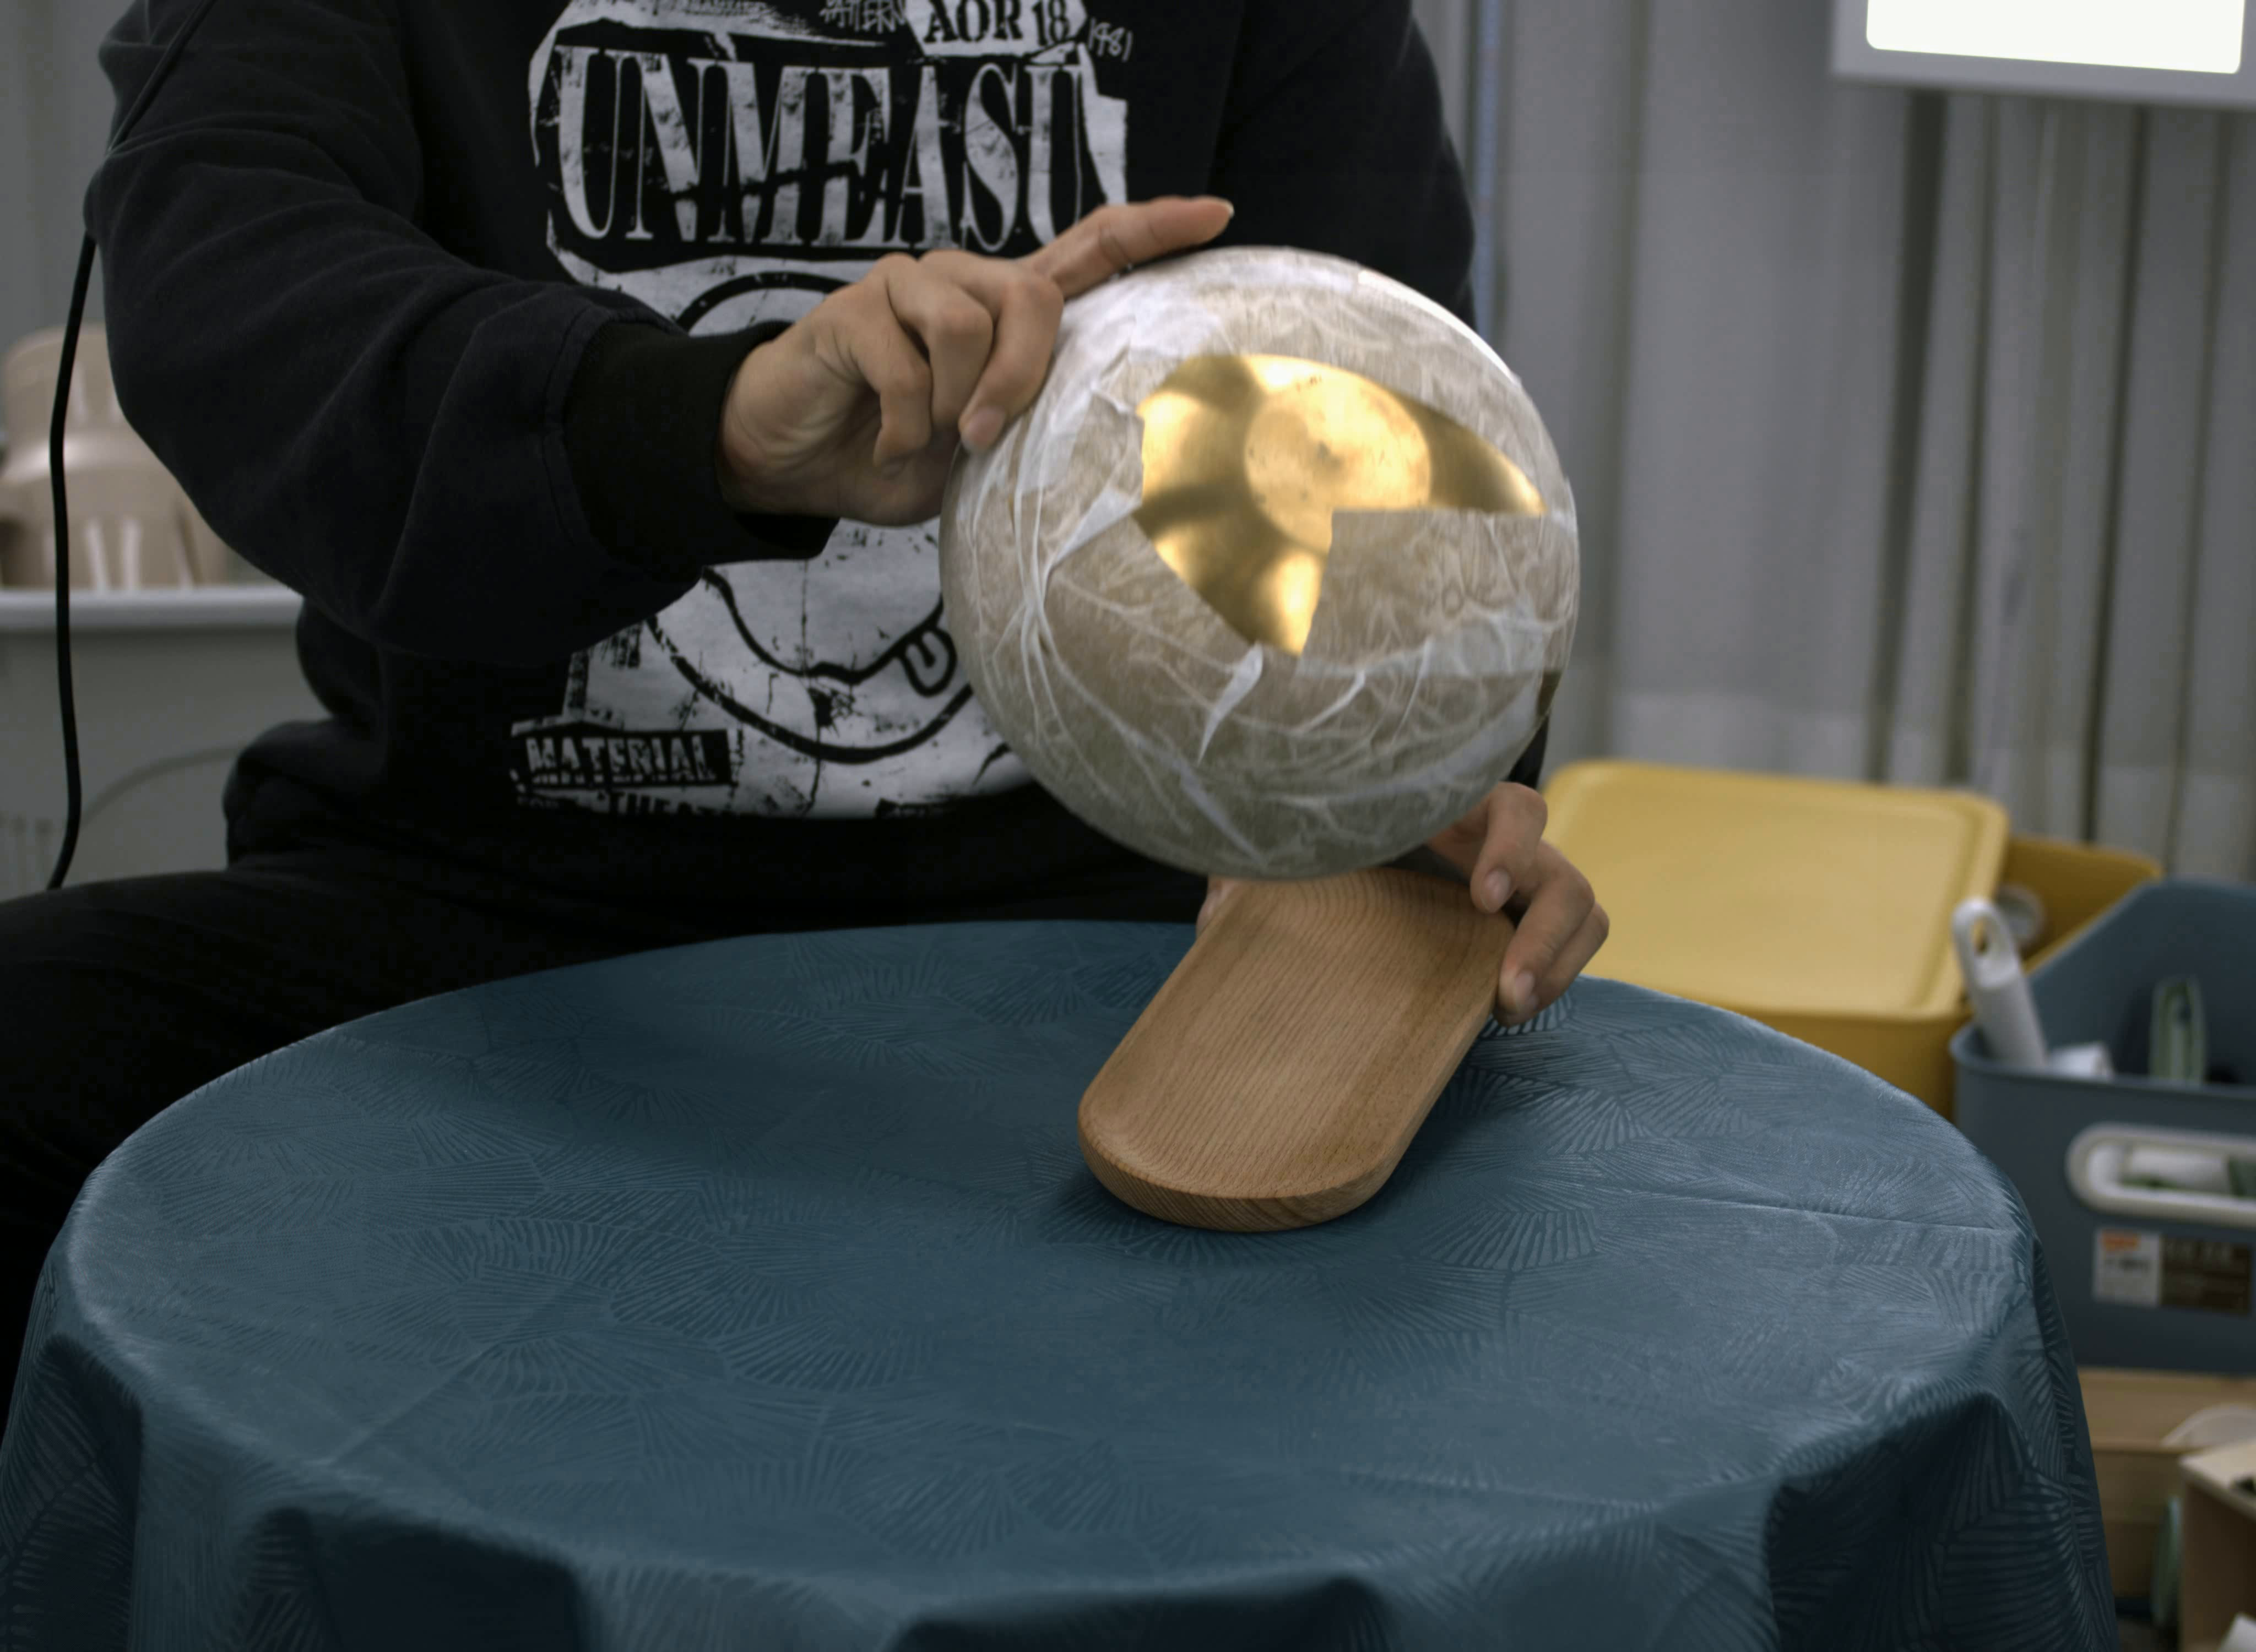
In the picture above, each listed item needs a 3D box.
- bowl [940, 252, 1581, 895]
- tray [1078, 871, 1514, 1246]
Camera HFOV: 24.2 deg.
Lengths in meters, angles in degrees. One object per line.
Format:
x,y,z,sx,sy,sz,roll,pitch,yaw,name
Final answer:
0.048,-0.085,1.582,0.215,0.214,0.094,-4,-15,-18,bowl
0.056,0.071,1.681,0.101,0.020,0.230,8,29,17,tray
